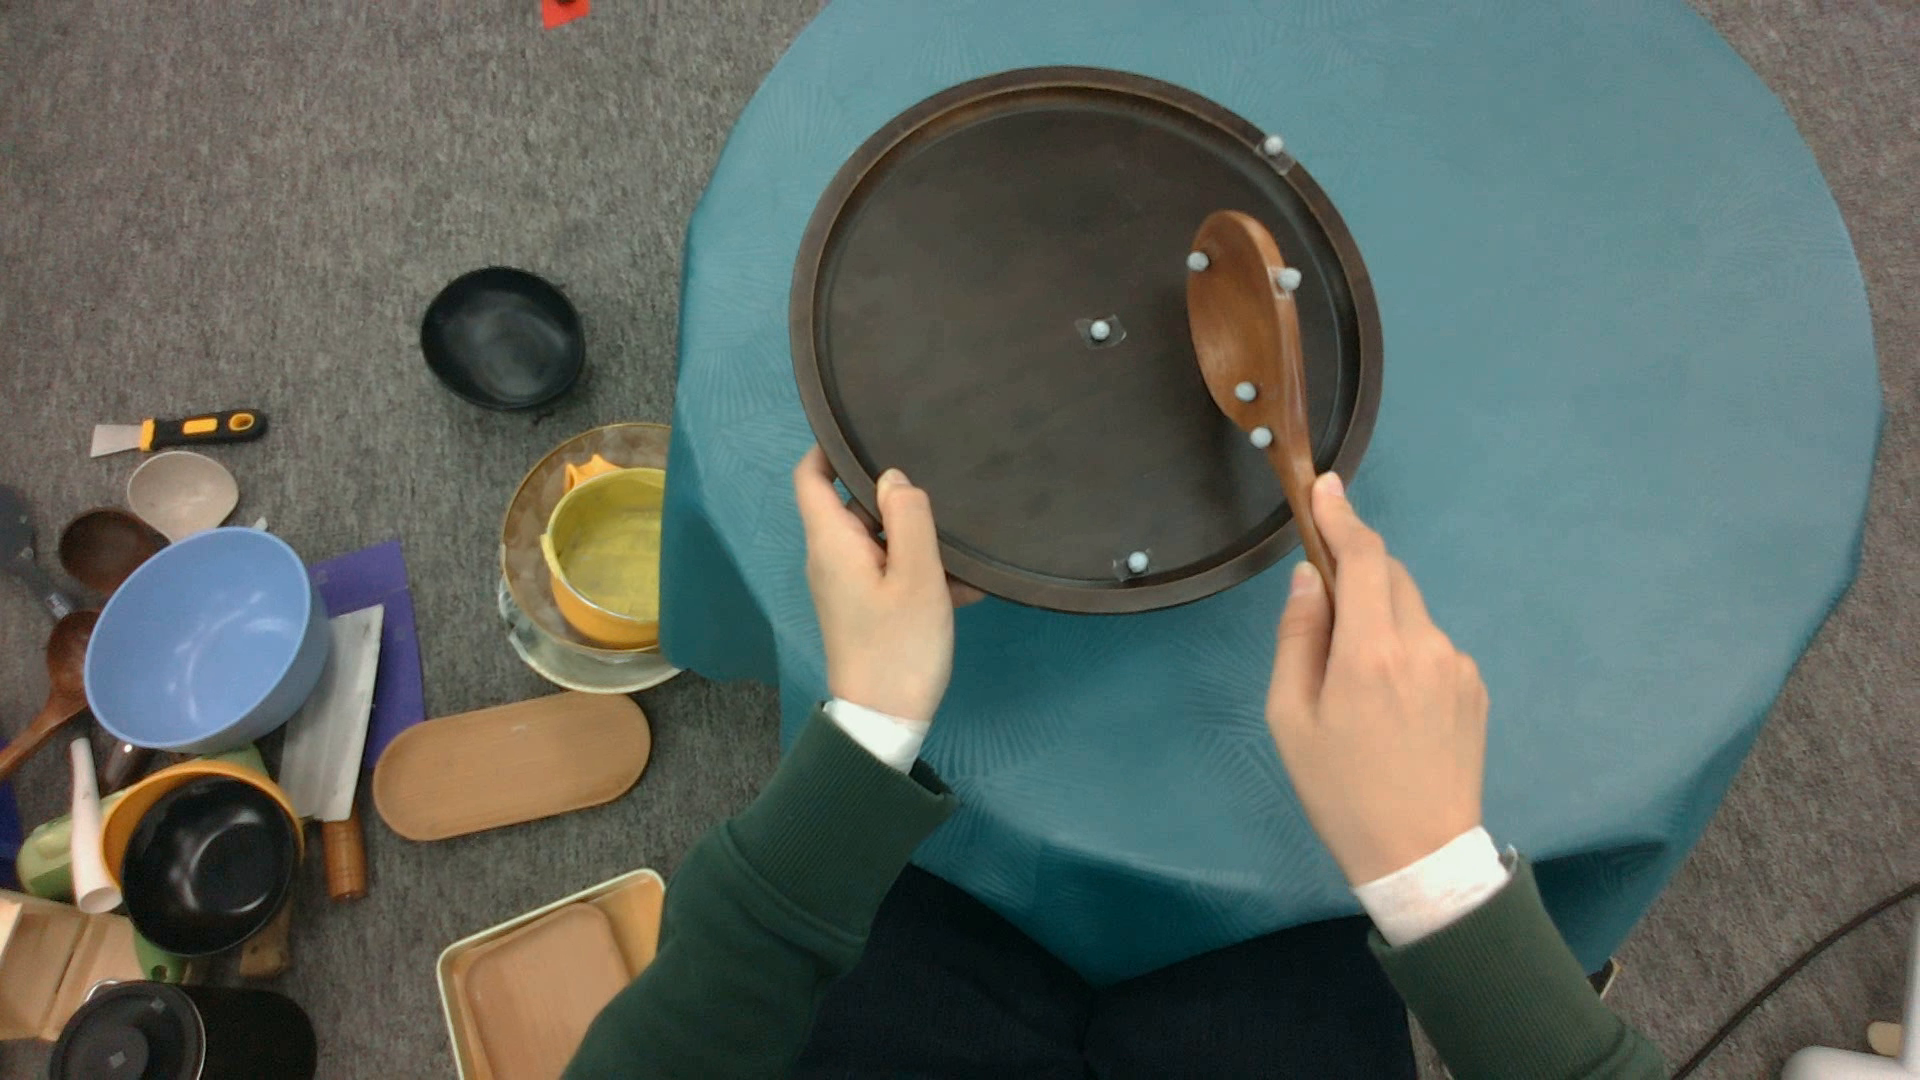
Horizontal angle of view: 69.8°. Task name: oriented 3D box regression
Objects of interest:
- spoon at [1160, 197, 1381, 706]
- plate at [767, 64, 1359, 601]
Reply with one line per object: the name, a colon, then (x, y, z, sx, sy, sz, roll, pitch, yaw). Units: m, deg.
spoon: (0.121, -0.038, 0.537, 0.017, 0.075, 0.216, -7, 68, -19)
plate: (0.045, -0.093, 0.589, 0.255, 0.029, 0.255, 2, 69, -6)
